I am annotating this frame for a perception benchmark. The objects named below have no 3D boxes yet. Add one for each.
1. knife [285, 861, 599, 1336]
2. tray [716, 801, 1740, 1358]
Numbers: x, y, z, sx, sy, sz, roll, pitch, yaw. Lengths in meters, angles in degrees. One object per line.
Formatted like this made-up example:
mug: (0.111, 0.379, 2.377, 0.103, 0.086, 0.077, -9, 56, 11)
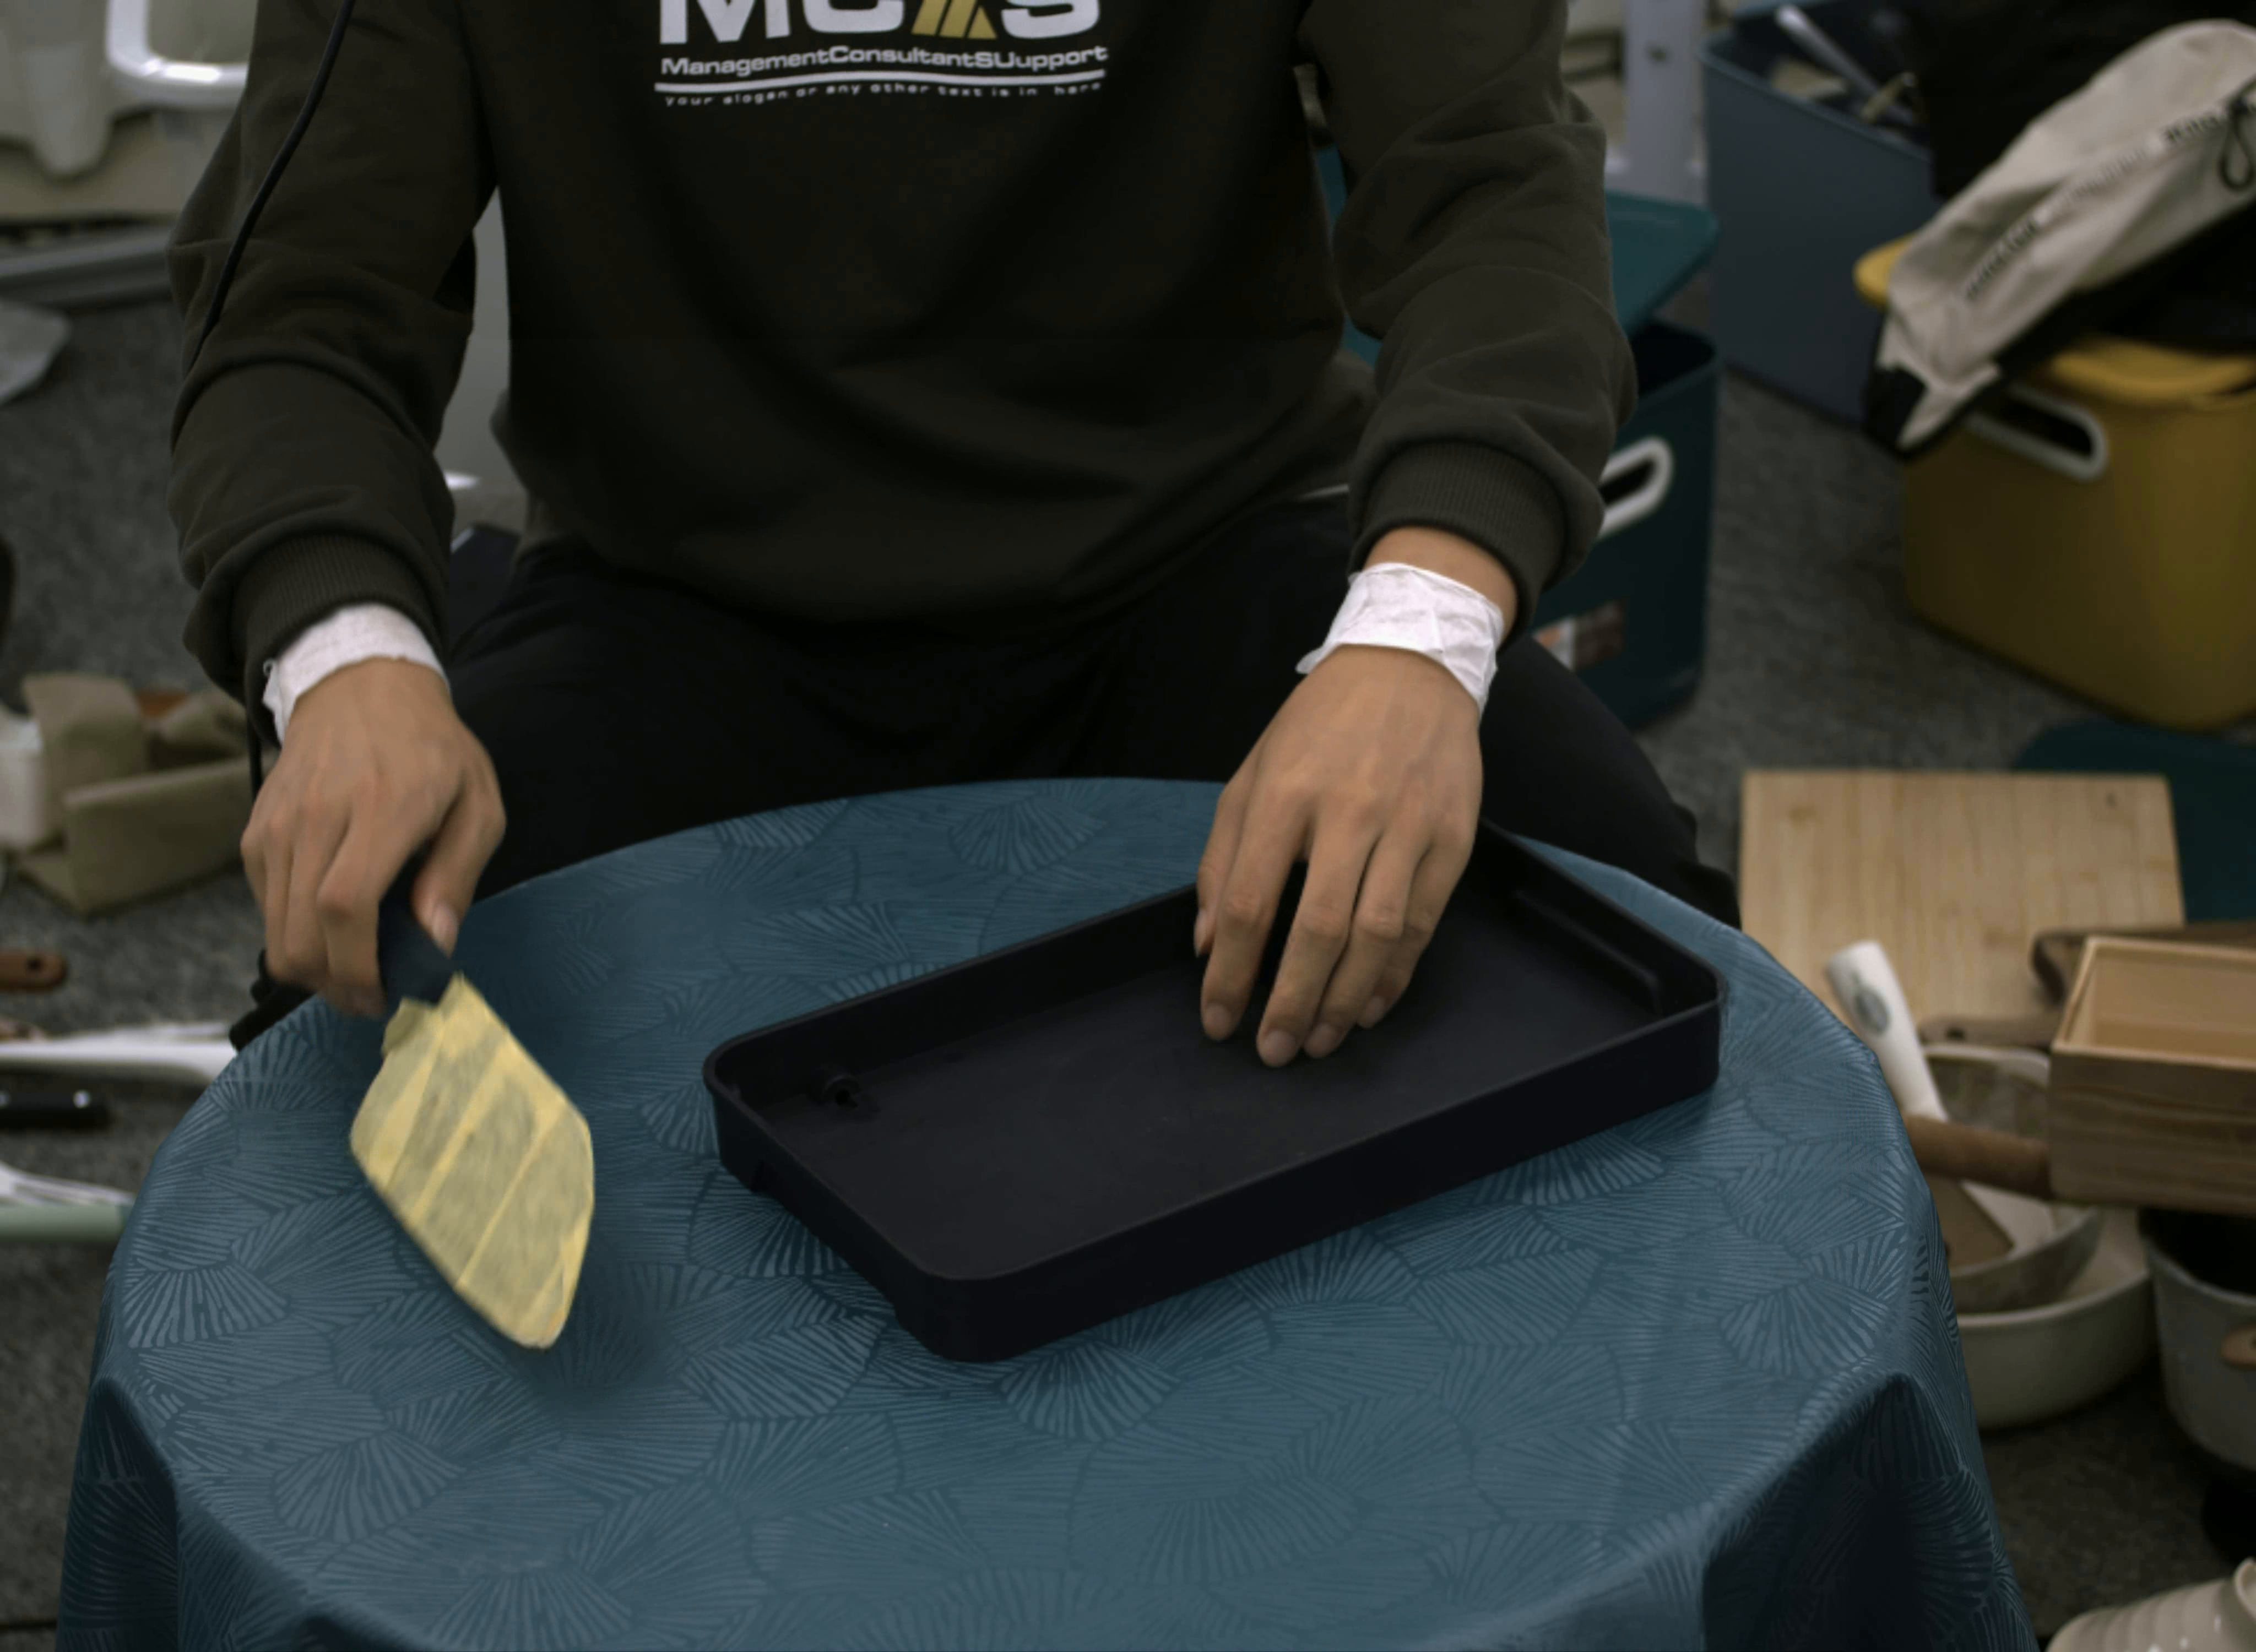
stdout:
knife: (-0.234, 0.087, 1.859, 0.027, 0.081, 0.291, 32, 8, -35)
tray: (0.035, 0.080, 1.900, 0.320, 0.036, 0.185, -19, 31, -29)
